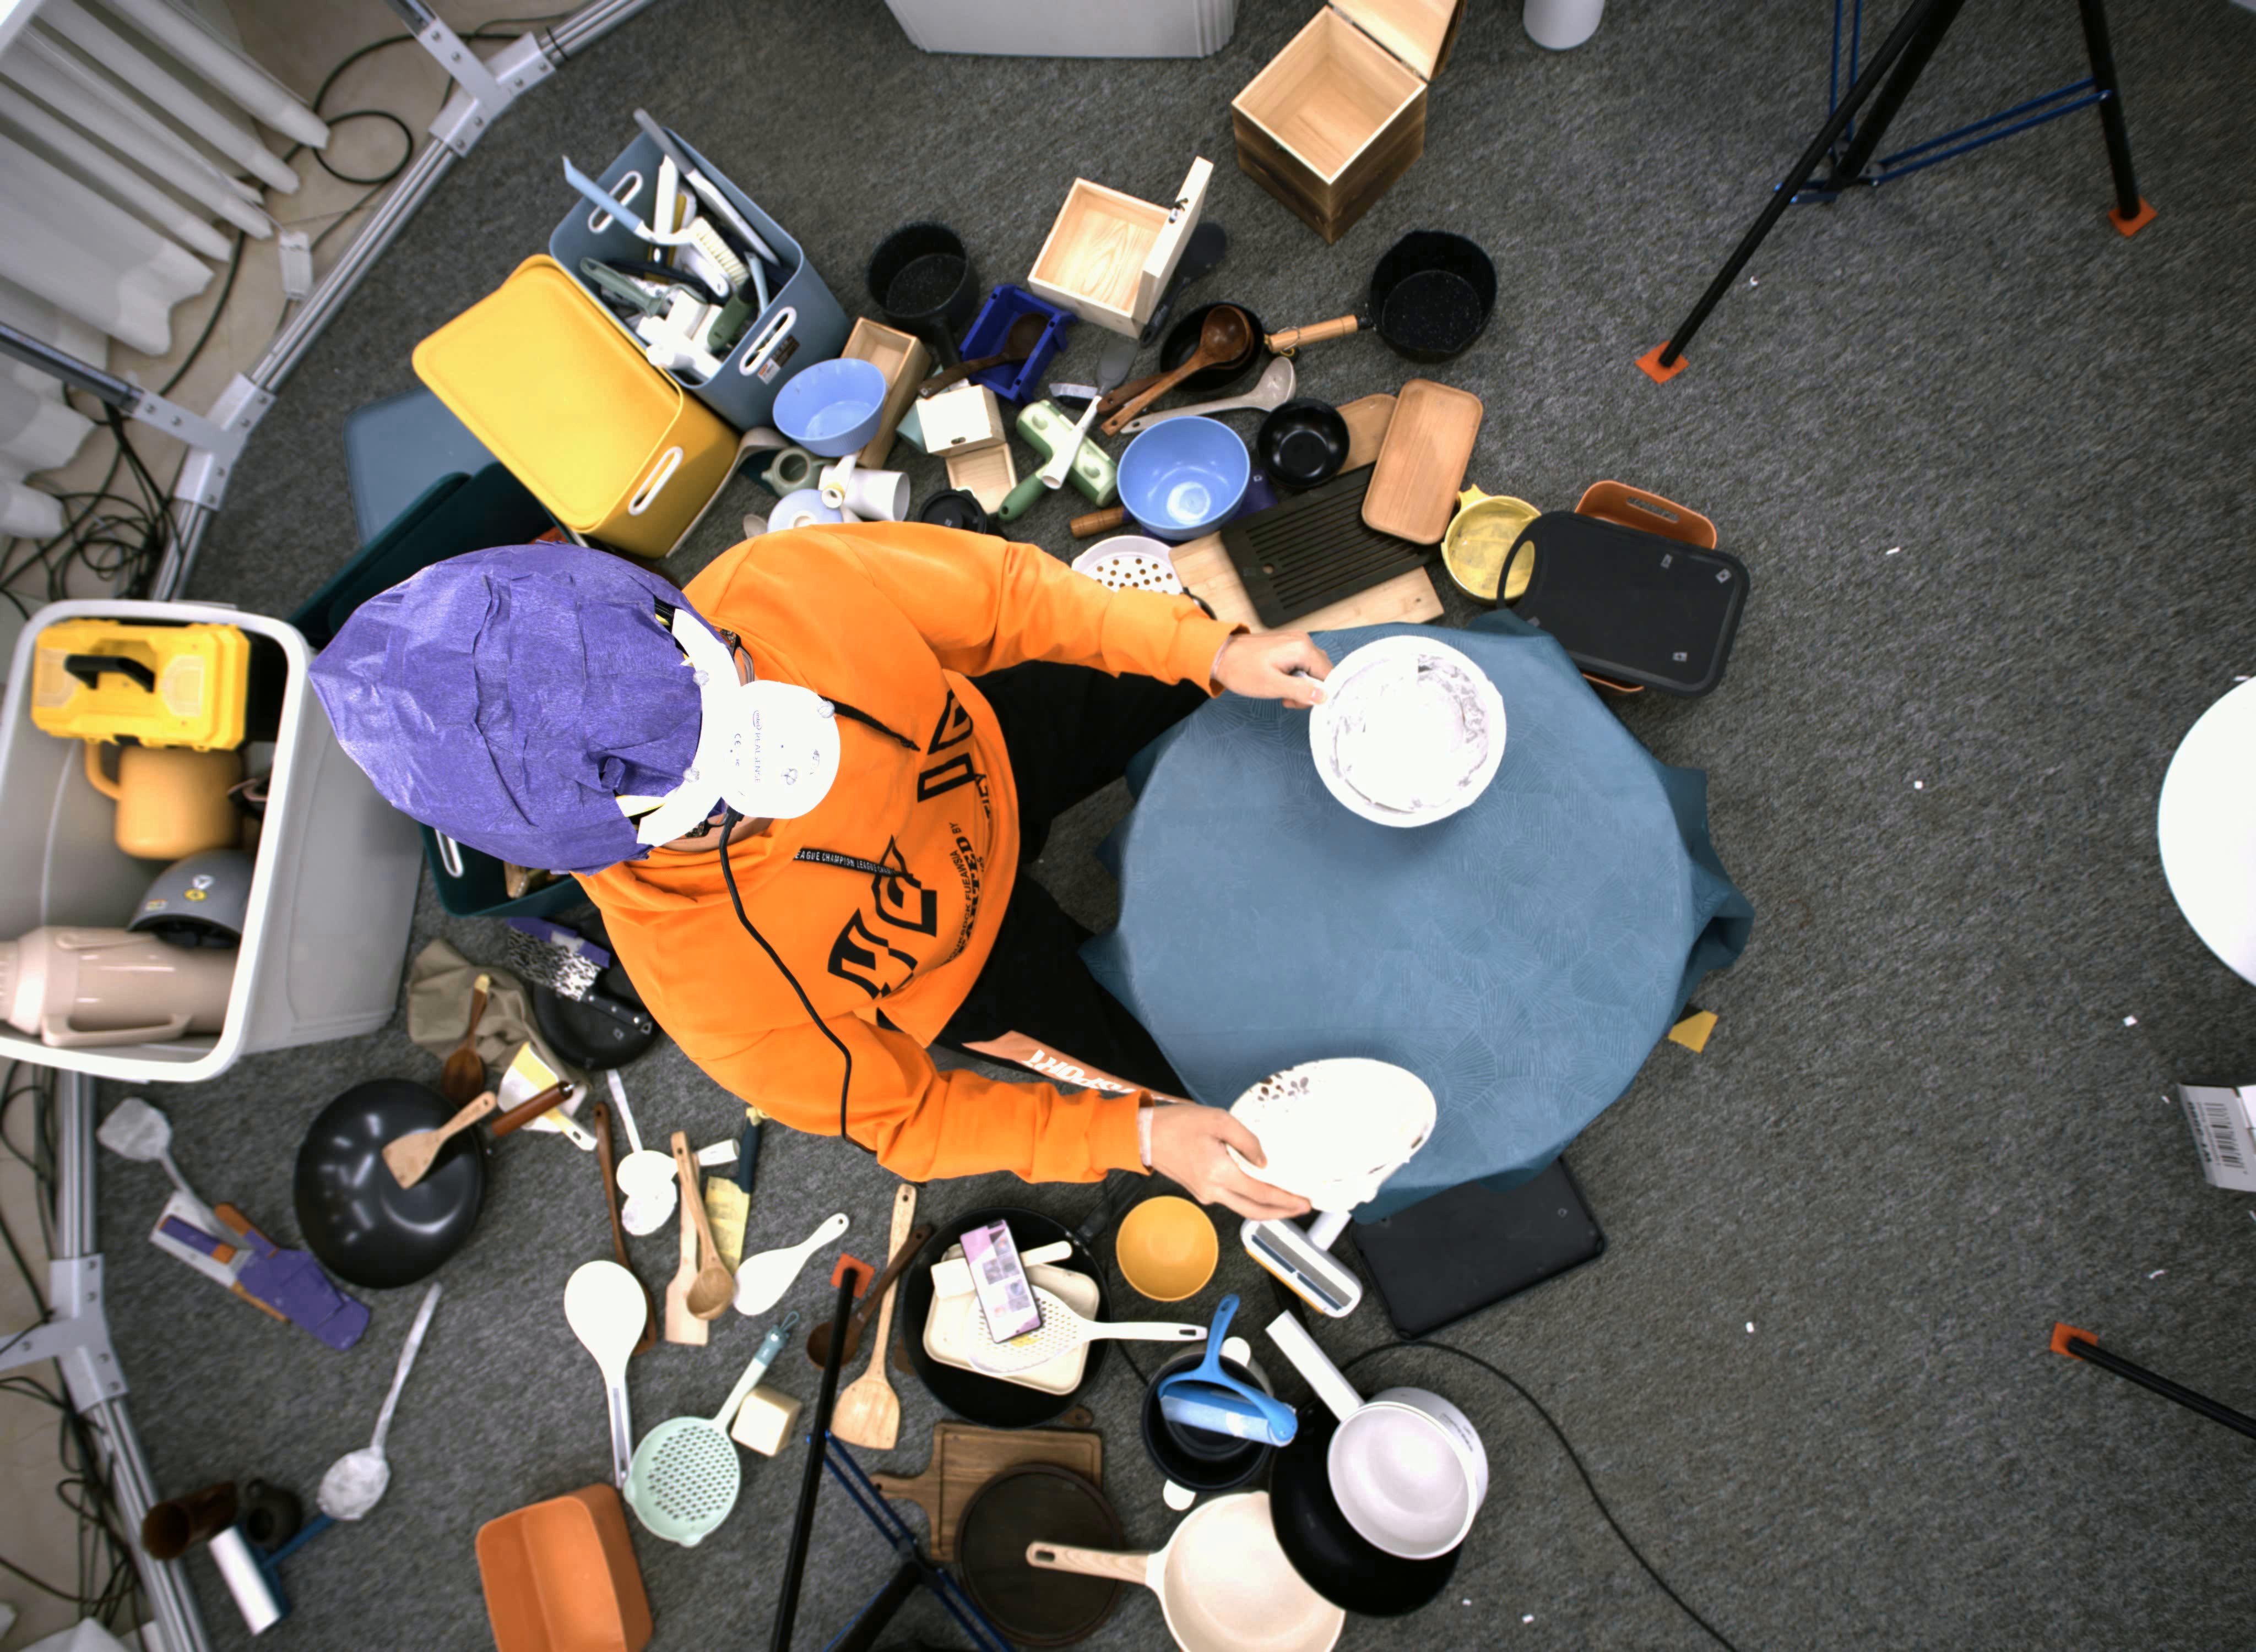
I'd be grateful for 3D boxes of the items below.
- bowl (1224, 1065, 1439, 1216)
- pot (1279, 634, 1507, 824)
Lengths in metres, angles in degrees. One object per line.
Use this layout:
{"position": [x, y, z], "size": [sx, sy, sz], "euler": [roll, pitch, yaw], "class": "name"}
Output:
{"position": [0.199, 0.311, 1.317], "size": [0.205, 0.200, 0.079], "euler": [-13, 109, 9], "class": "bowl"}
{"position": [0.251, -0.105, 1.339], "size": [0.233, 0.135, 0.180], "euler": [24, 101, 15], "class": "pot"}
